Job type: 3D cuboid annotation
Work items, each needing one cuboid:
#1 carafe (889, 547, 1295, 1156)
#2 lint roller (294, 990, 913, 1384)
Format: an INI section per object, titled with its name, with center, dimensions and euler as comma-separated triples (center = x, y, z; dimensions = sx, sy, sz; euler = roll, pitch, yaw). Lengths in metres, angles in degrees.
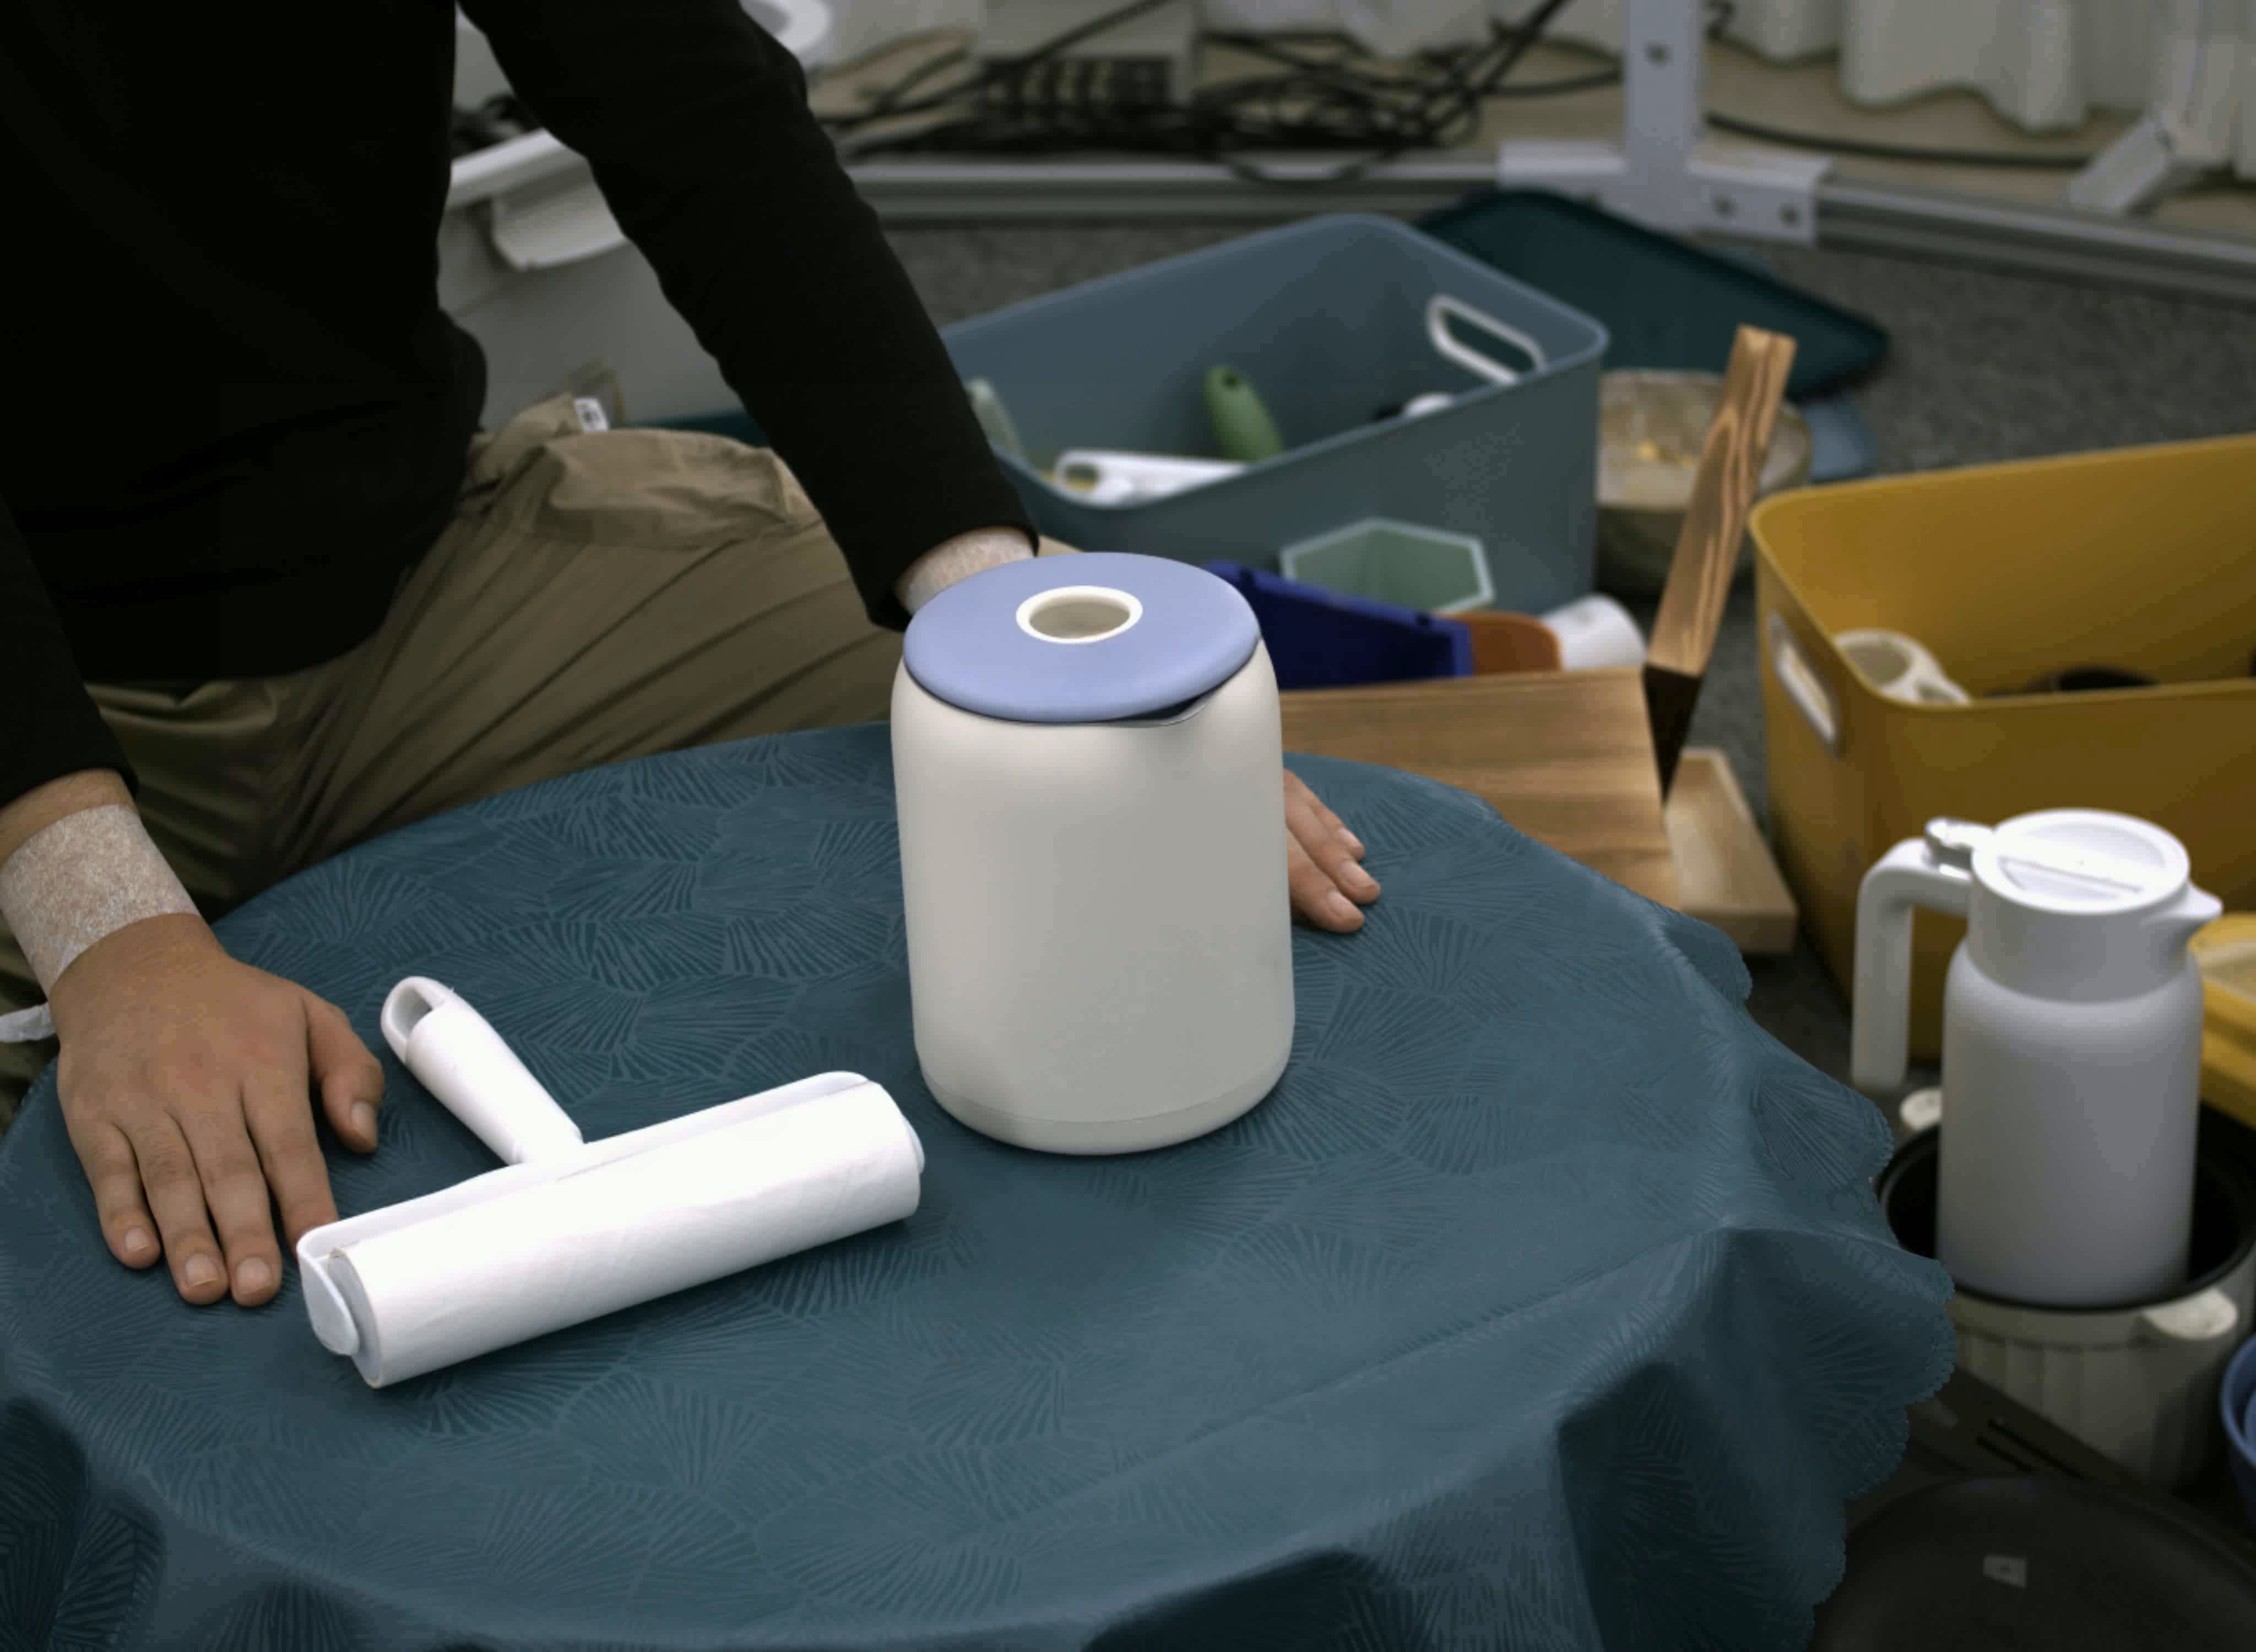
[carafe]
center = -0.024, -0.001, 1.916
dimensions = 0.133, 0.181, 0.192
euler = -16, 27, -26
[lint roller]
center = -0.205, 0.098, 1.882
dimensions = 0.204, 0.048, 0.226
euler = -18, 29, -24
